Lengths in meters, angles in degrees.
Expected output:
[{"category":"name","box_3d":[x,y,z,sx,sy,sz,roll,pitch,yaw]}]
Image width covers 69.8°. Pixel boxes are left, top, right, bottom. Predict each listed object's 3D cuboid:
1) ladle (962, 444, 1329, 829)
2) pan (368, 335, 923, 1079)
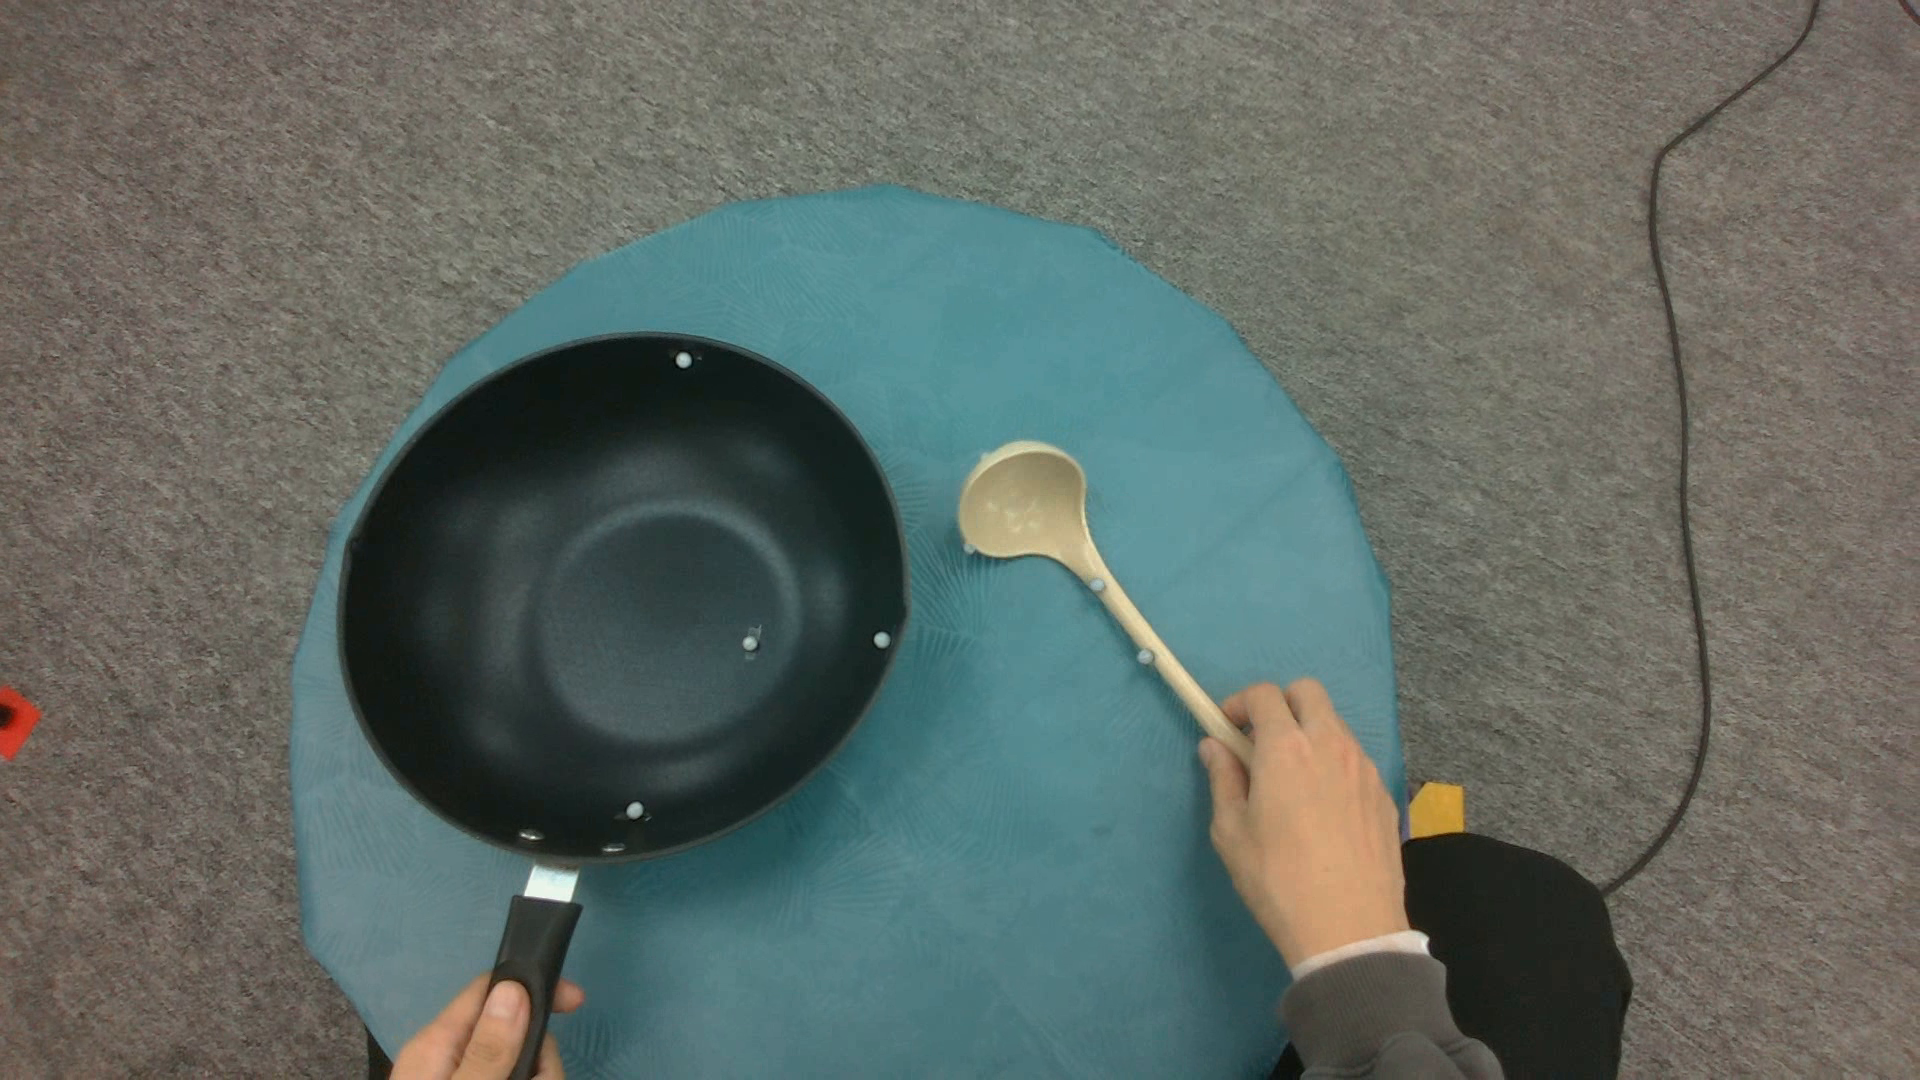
[{"category":"ladle","box_3d":[0.095,0.052,0.717,0.072,0.073,0.255,-45,69,13]},{"category":"pan","box_3d":[-0.174,0.119,0.704,0.288,0.086,0.465,8,71,5]}]
